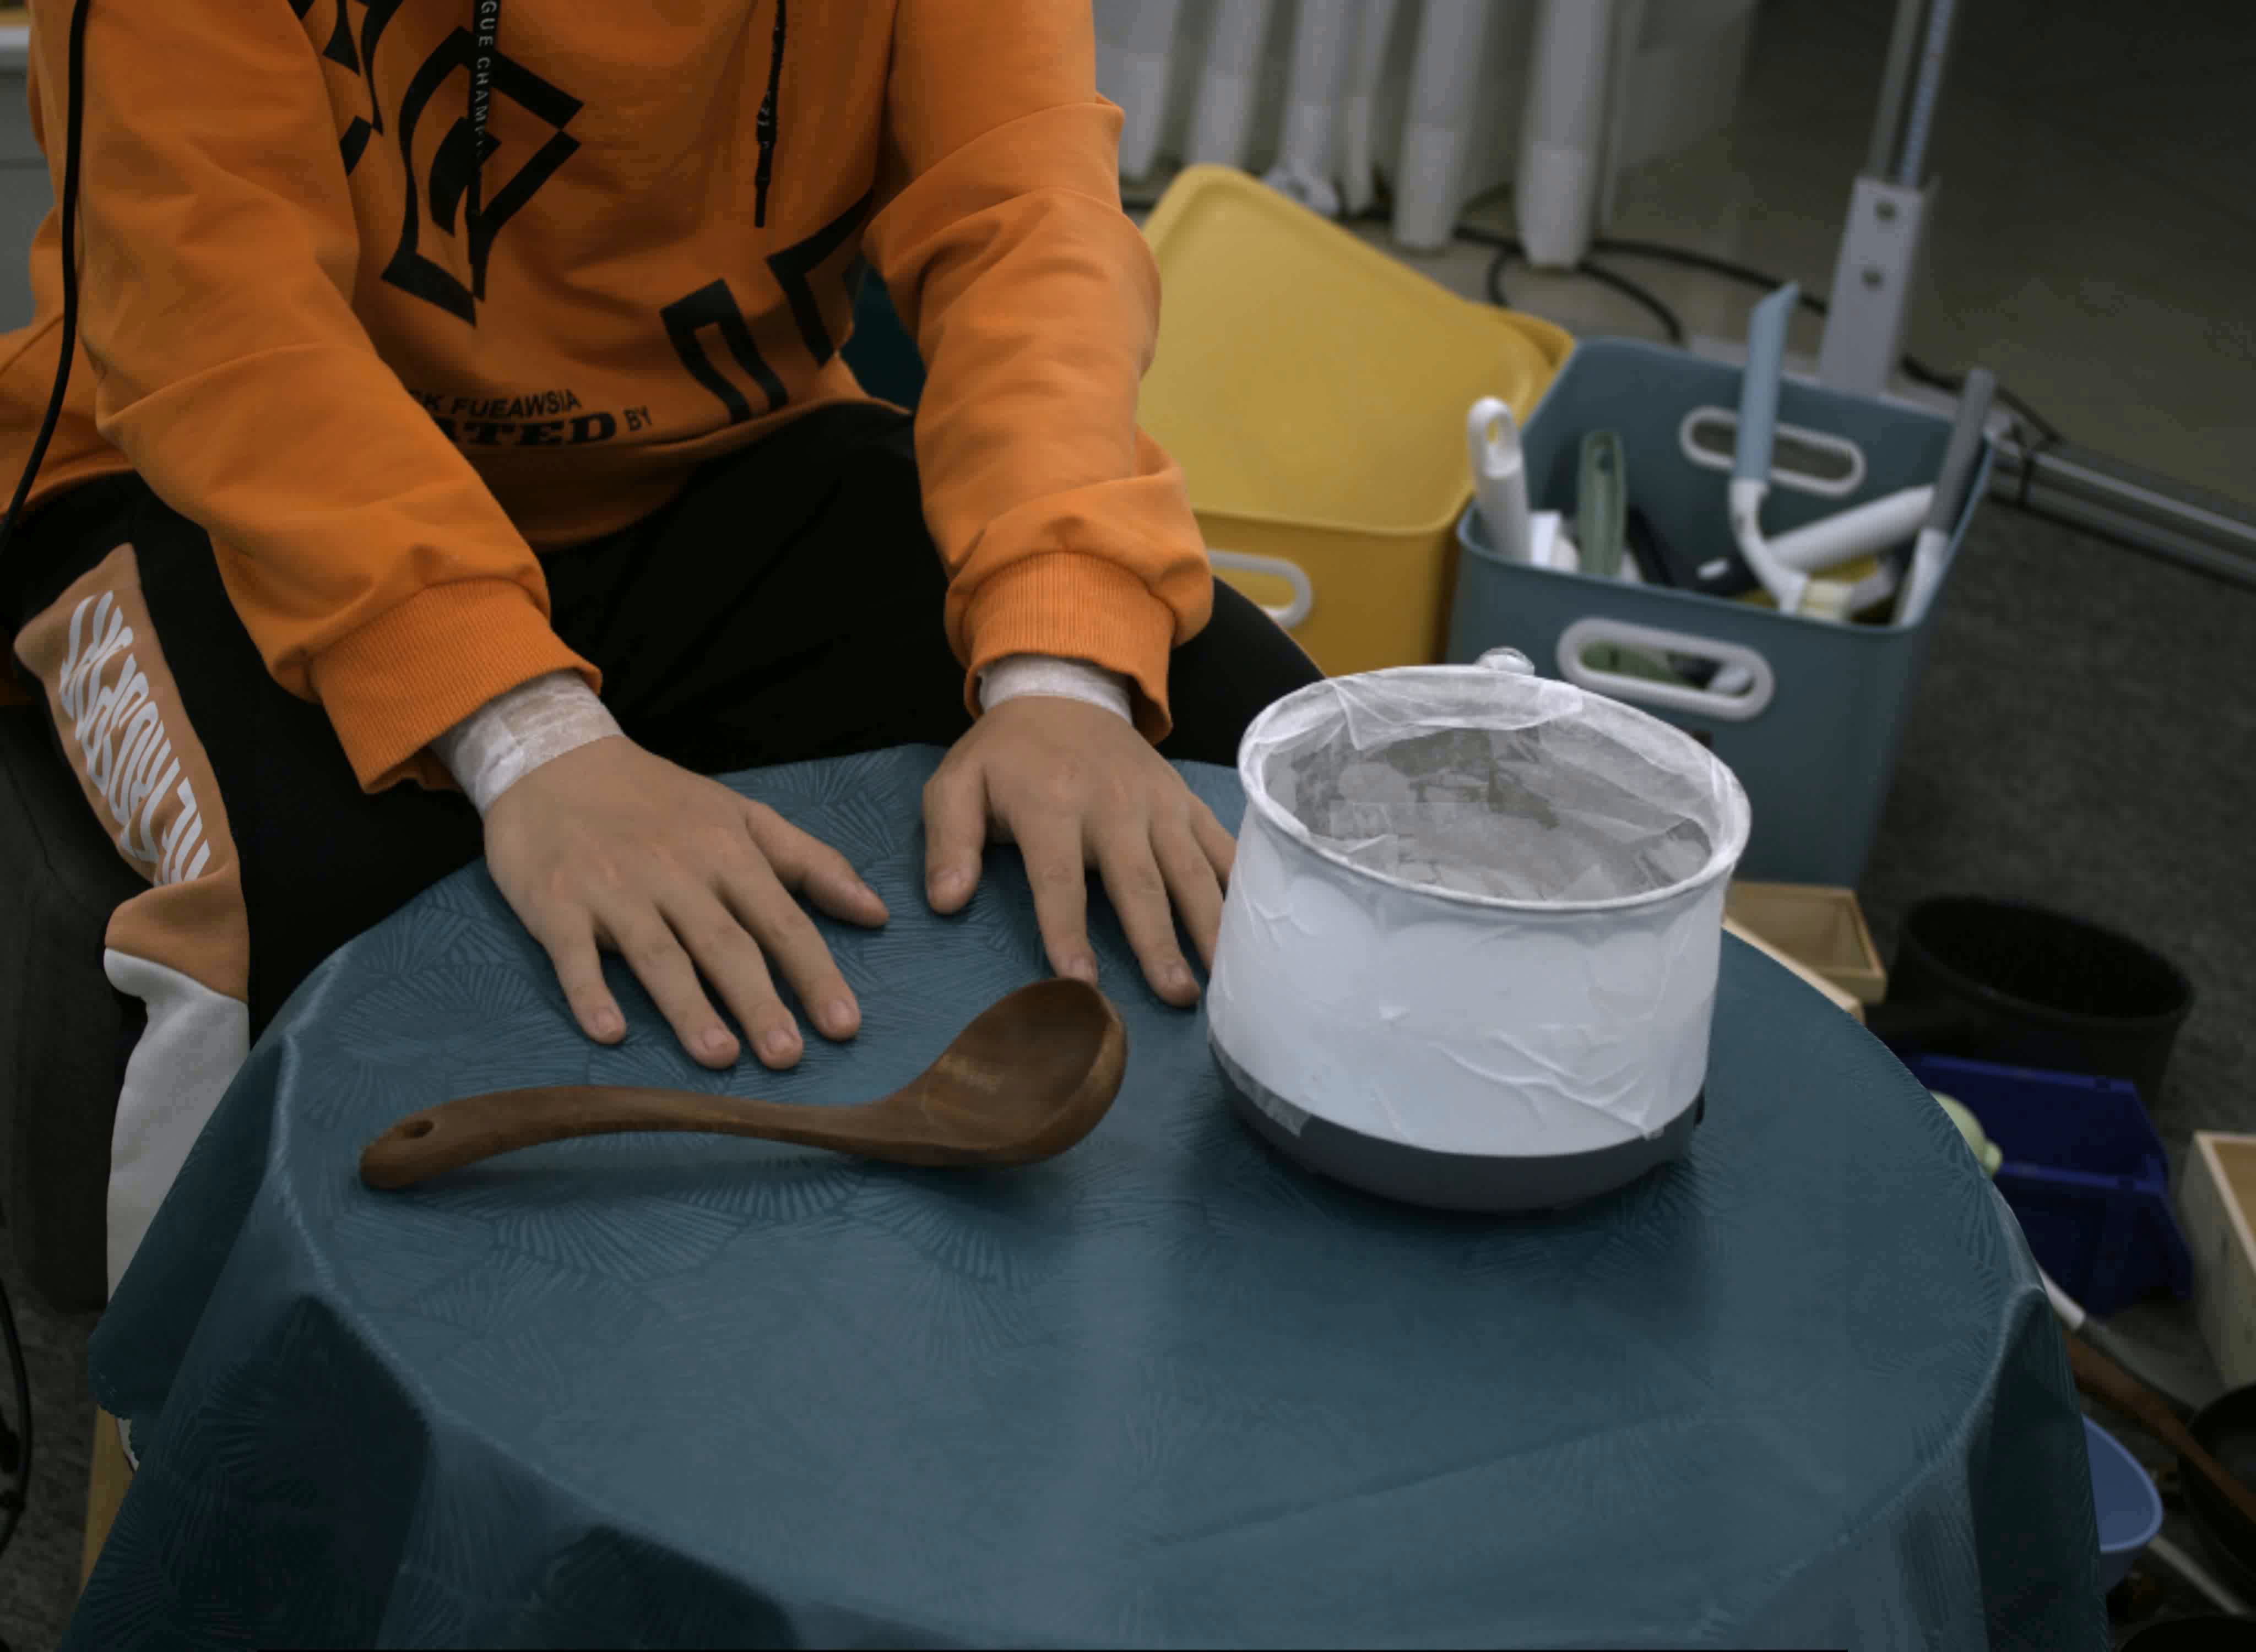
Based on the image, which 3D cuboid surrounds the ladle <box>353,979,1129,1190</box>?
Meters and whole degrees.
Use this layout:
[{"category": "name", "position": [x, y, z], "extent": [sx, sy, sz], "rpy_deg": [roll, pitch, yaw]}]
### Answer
[{"category": "ladle", "position": [-0.128, 0.087, 1.776], "extent": [0.259, 0.065, 0.077], "rpy_deg": [-1, 26, -14]}]

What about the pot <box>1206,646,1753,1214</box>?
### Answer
[{"category": "pot", "position": [0.120, 0.028, 1.865], "extent": [0.178, 0.136, 0.235], "rpy_deg": [8, 27, 1]}]
